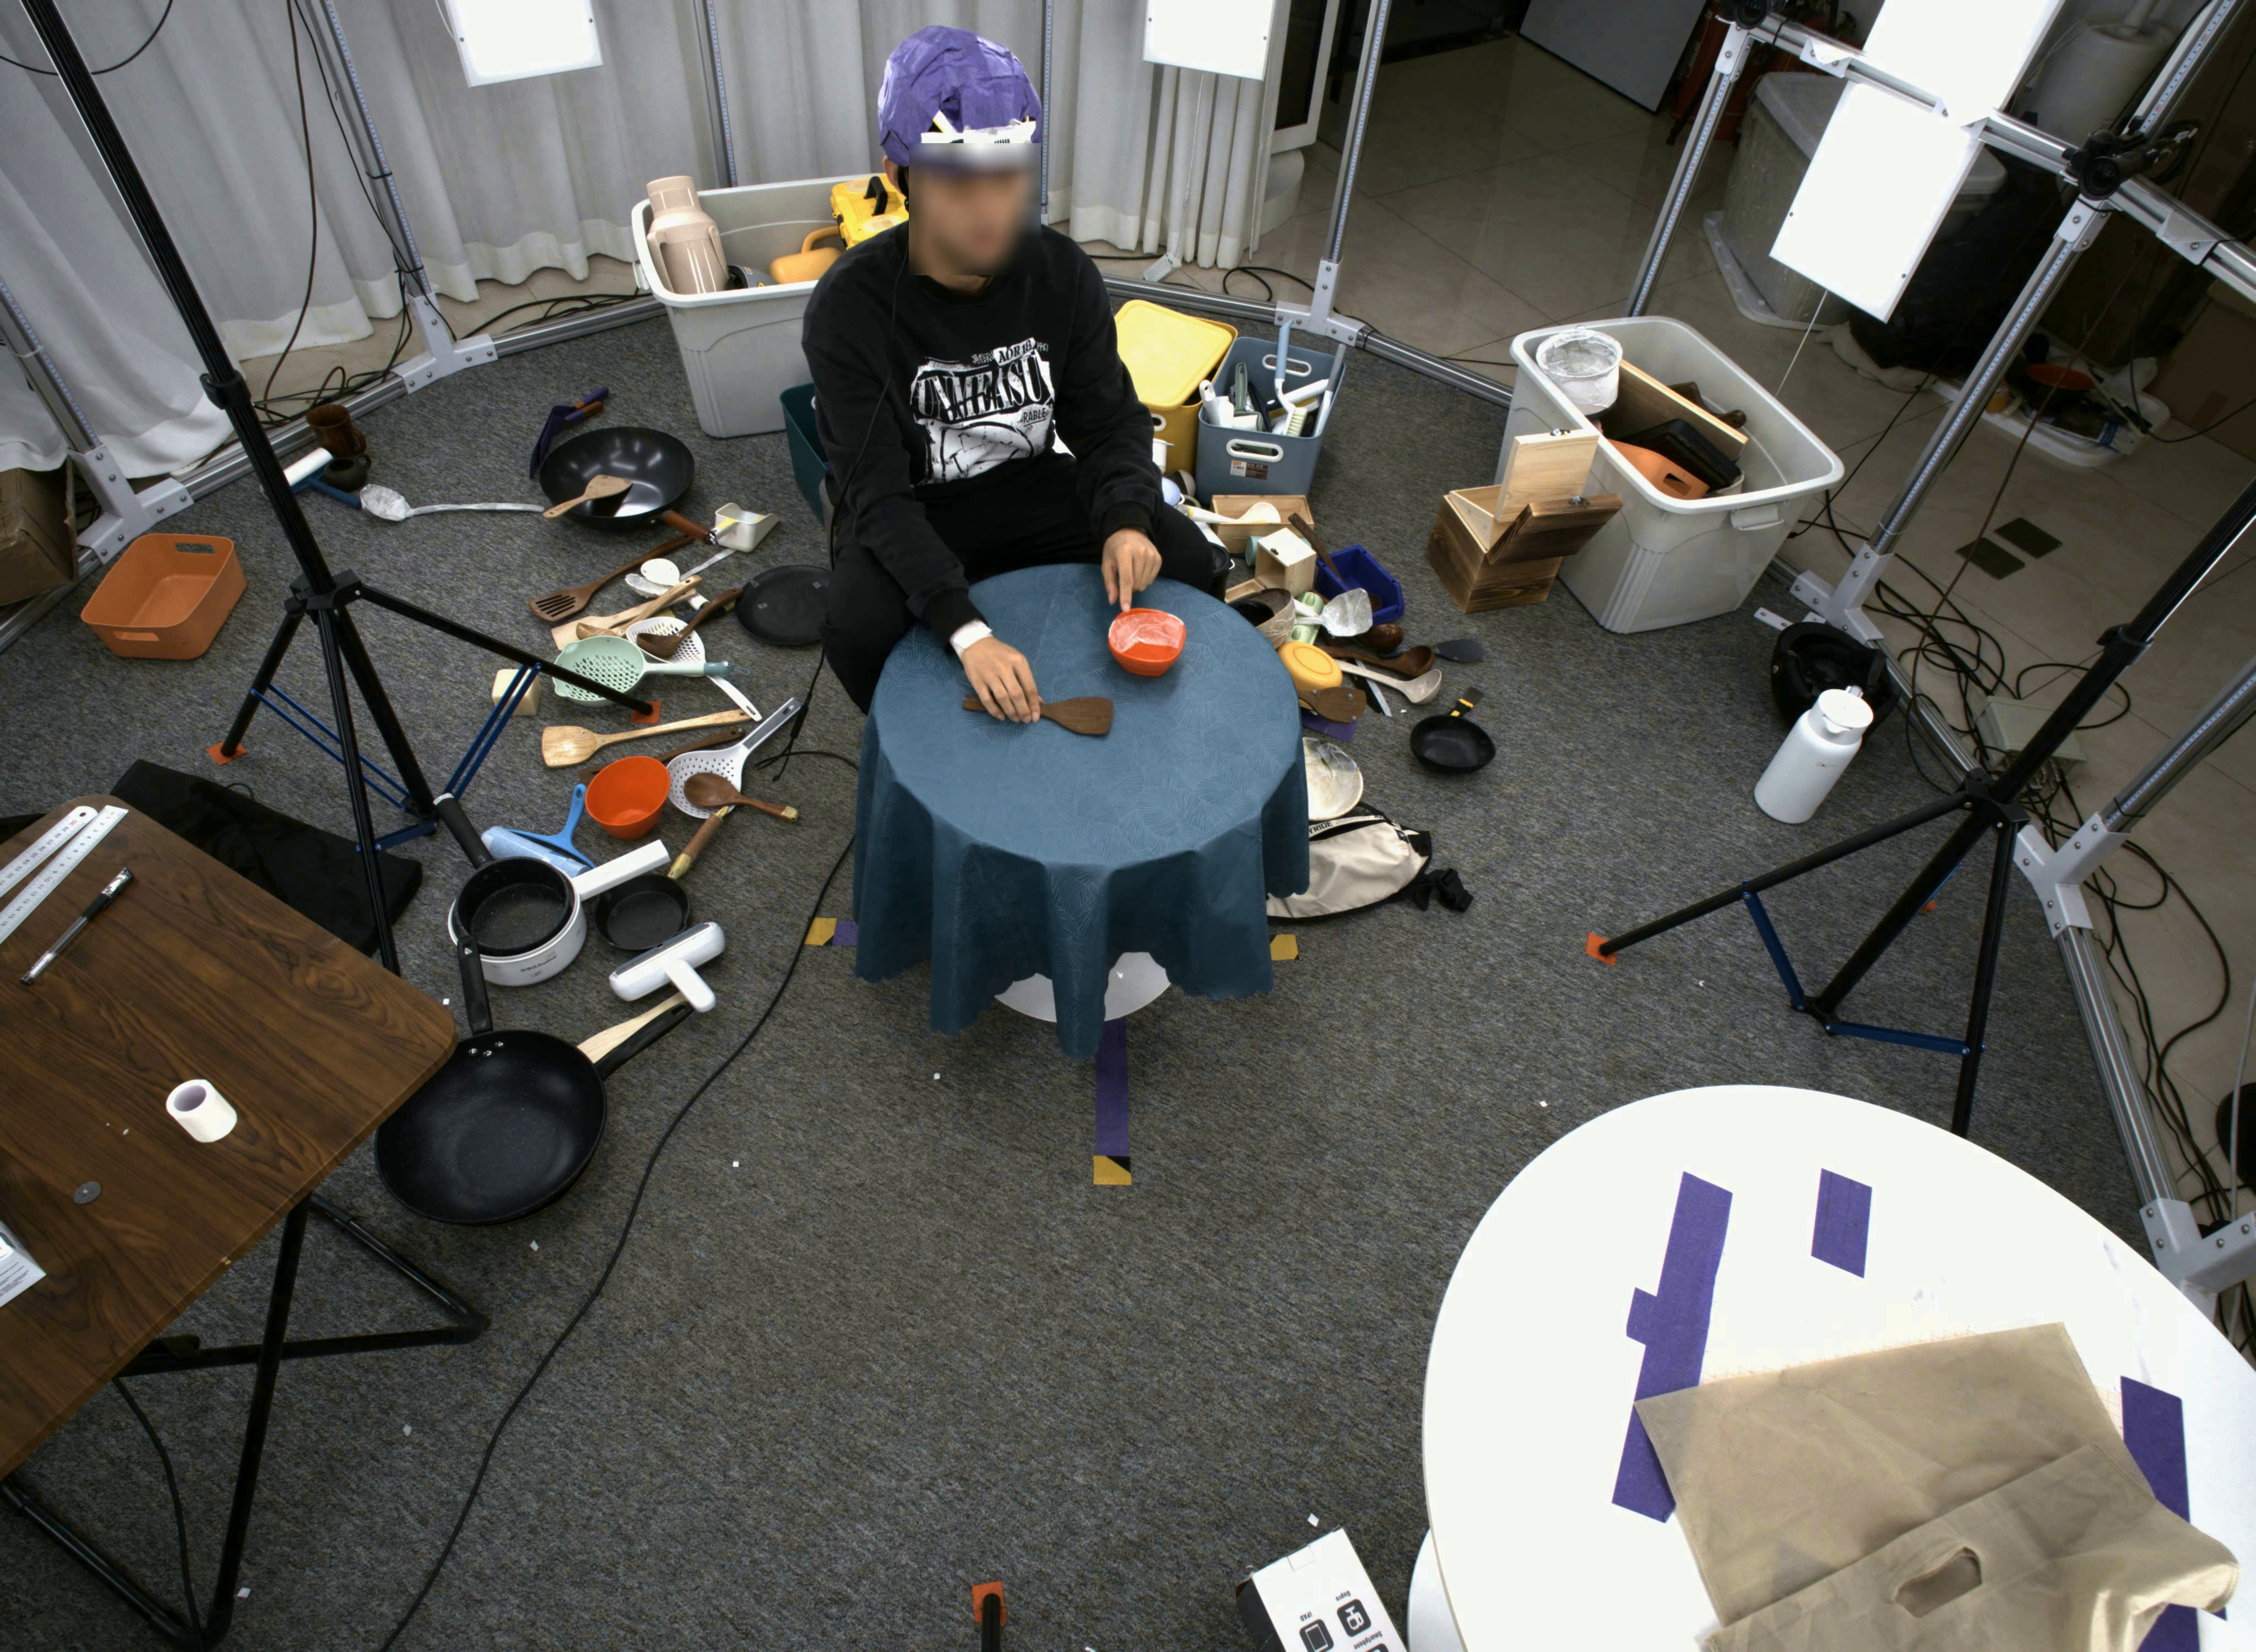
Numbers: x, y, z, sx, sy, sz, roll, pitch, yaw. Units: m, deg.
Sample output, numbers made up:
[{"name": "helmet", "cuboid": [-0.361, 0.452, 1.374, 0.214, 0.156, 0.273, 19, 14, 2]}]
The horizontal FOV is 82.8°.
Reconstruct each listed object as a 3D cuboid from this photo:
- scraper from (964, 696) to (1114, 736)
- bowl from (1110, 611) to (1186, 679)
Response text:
[{"name": "scraper", "cuboid": [-0.126, -0.163, 1.812, 0.211, 0.010, 0.077, 6, 48, 2]}, {"name": "bowl", "cuboid": [0.028, -0.259, 1.881, 0.119, 0.050, 0.122, 2, 51, -2]}]
